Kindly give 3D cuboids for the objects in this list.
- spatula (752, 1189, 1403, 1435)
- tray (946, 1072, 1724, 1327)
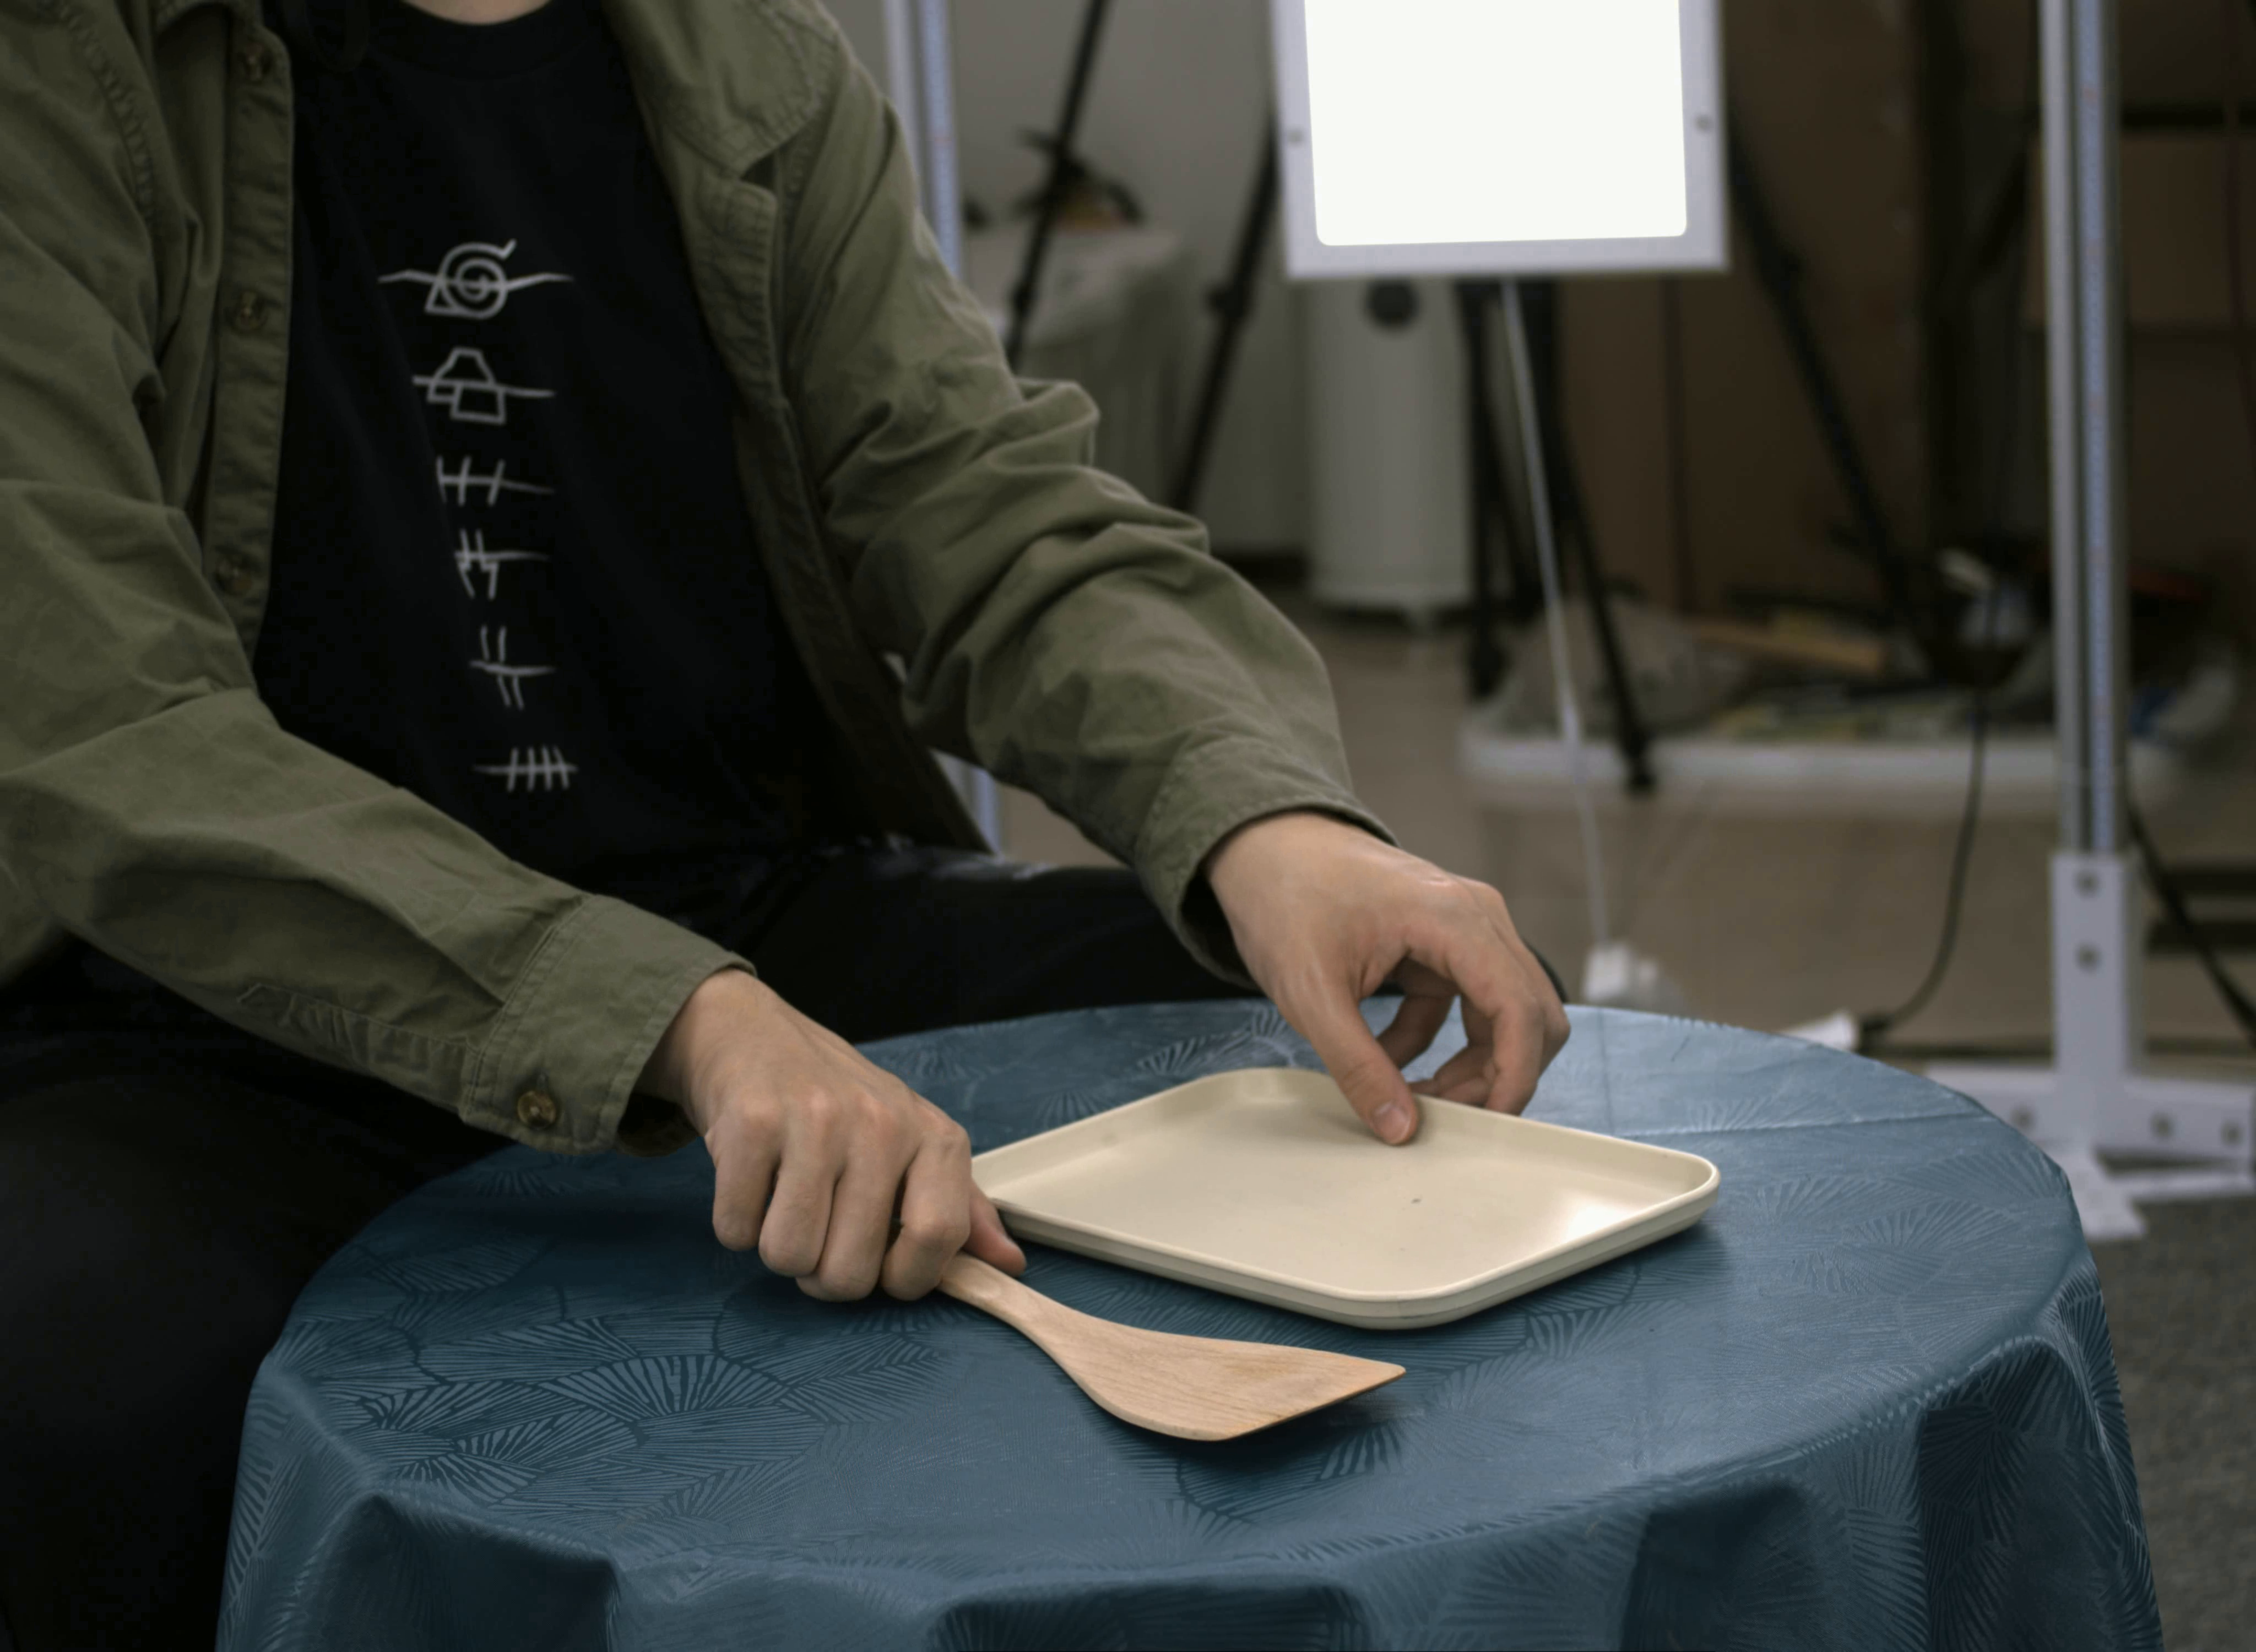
[{"bbox_3d":[-0.030,0.151,1.770,0.078,0.016,0.334,-13,16,-32],"label":"spatula"},{"bbox_3d":[0.068,0.124,1.842,0.167,0.017,0.245,-16,17,-39],"label":"tray"}]
